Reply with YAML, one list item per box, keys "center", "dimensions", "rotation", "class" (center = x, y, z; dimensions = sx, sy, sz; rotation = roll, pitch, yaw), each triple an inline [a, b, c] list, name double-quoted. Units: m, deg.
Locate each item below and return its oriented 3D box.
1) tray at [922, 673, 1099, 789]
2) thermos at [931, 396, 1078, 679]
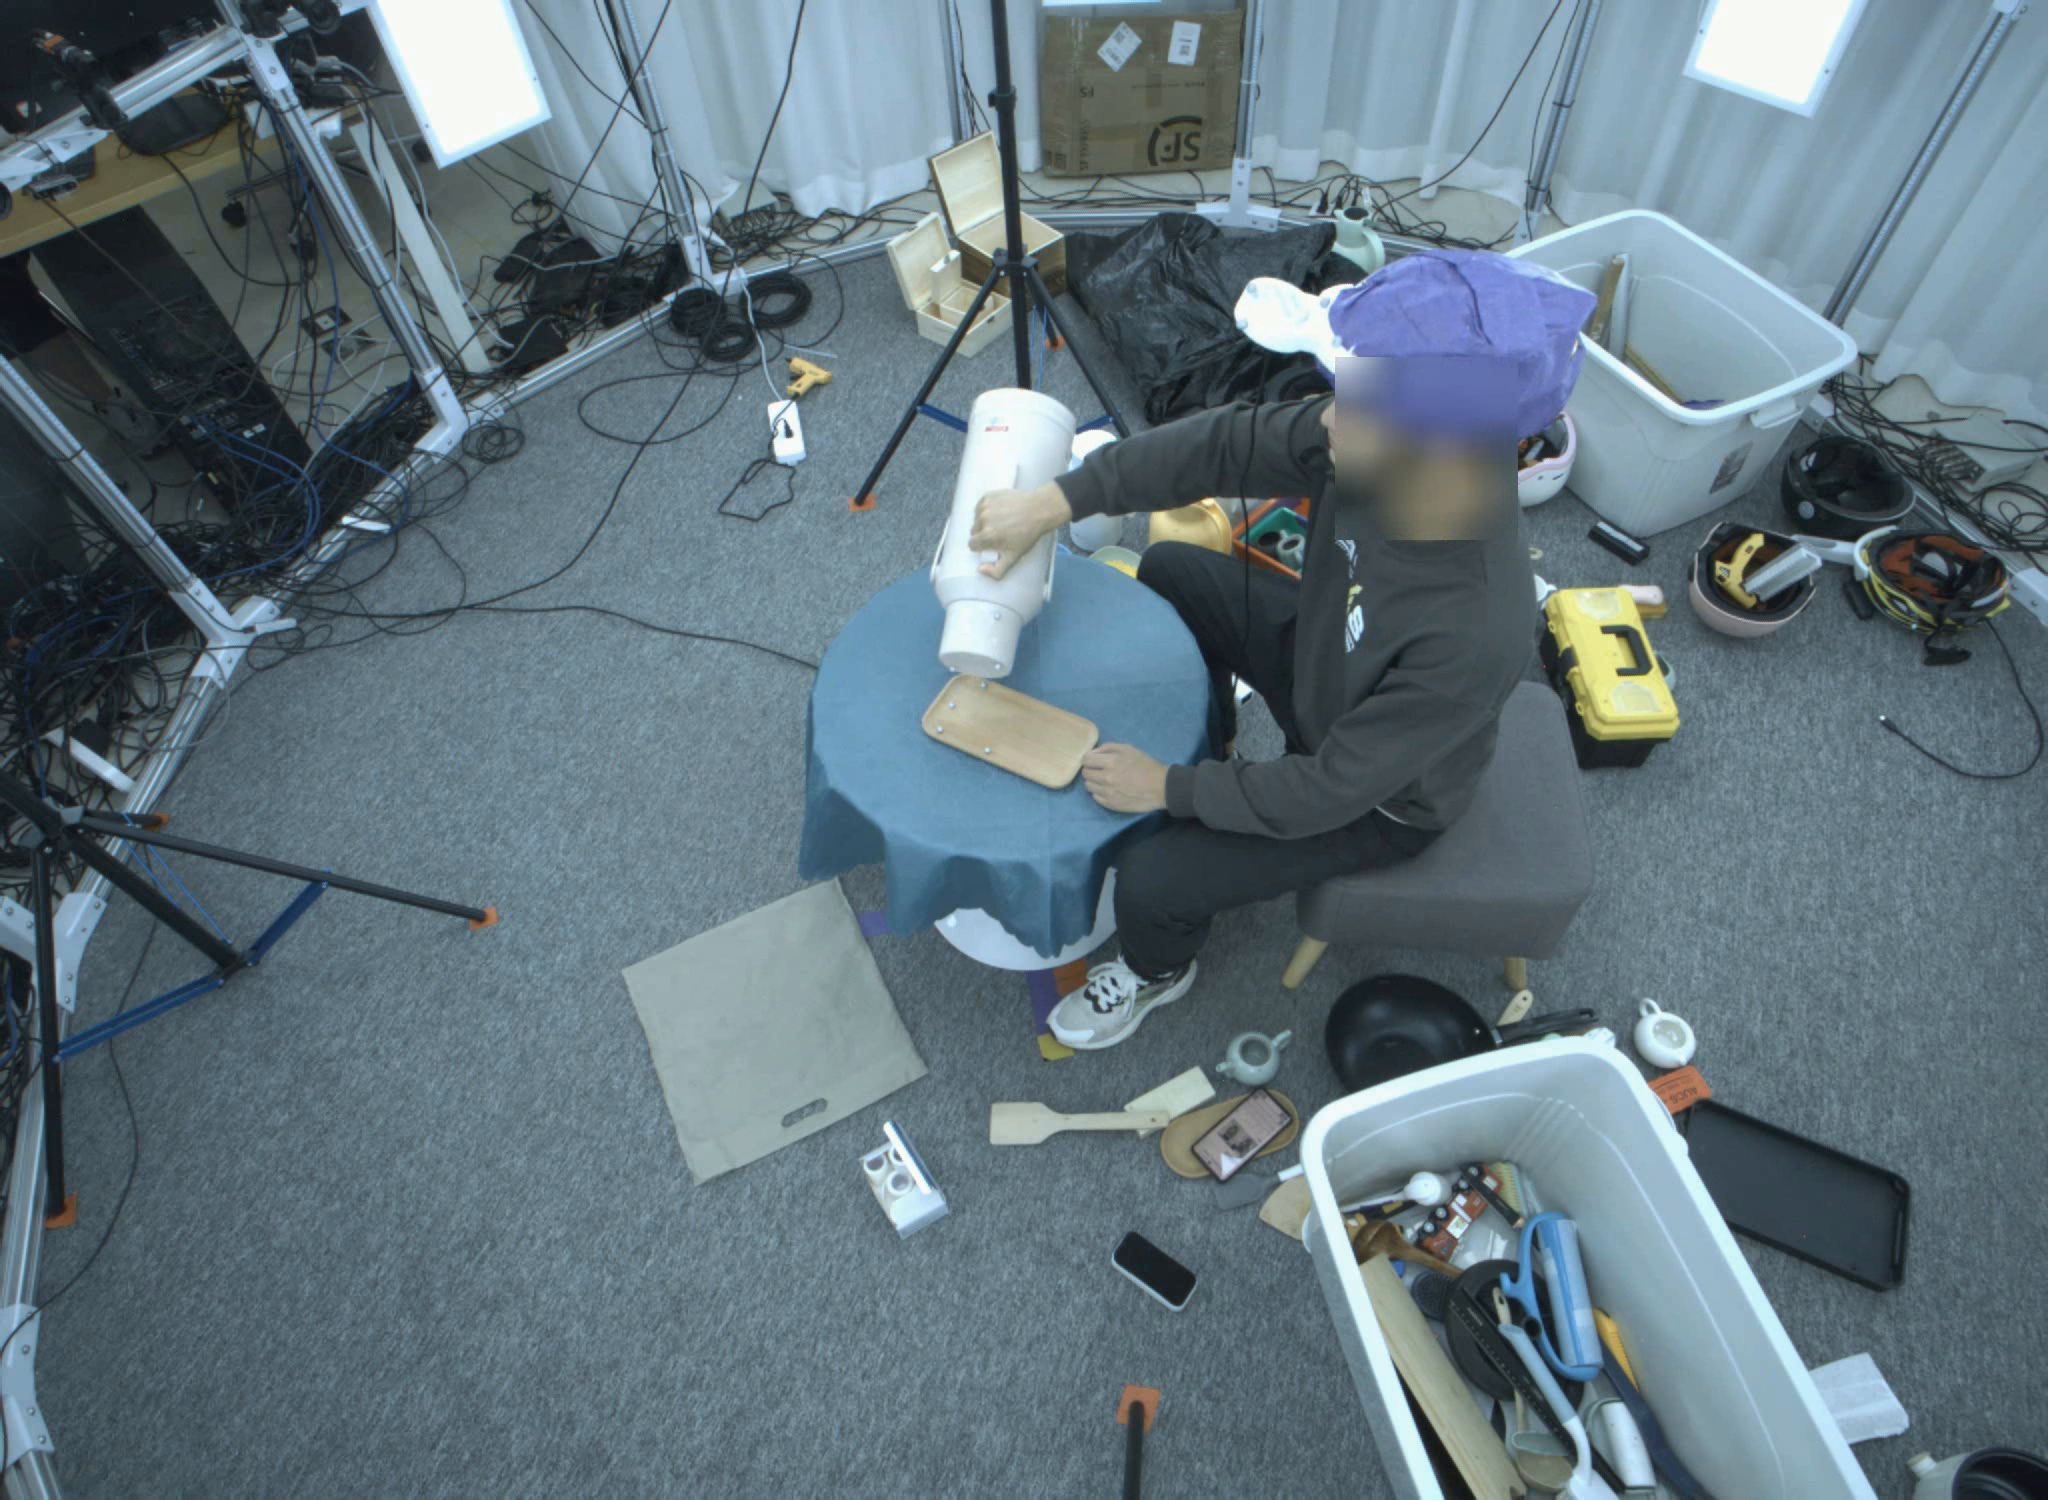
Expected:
- center: [-0.020, -0.029, 1.797]
  dimensions: [0.247, 0.023, 0.131]
  rotation: [24, 61, 17]
  class: "tray"
- center: [-0.031, -0.313, 1.762]
  dimensions: [0.175, 0.208, 0.405]
  rotation: [11, 75, 2]
  class: "thermos"
